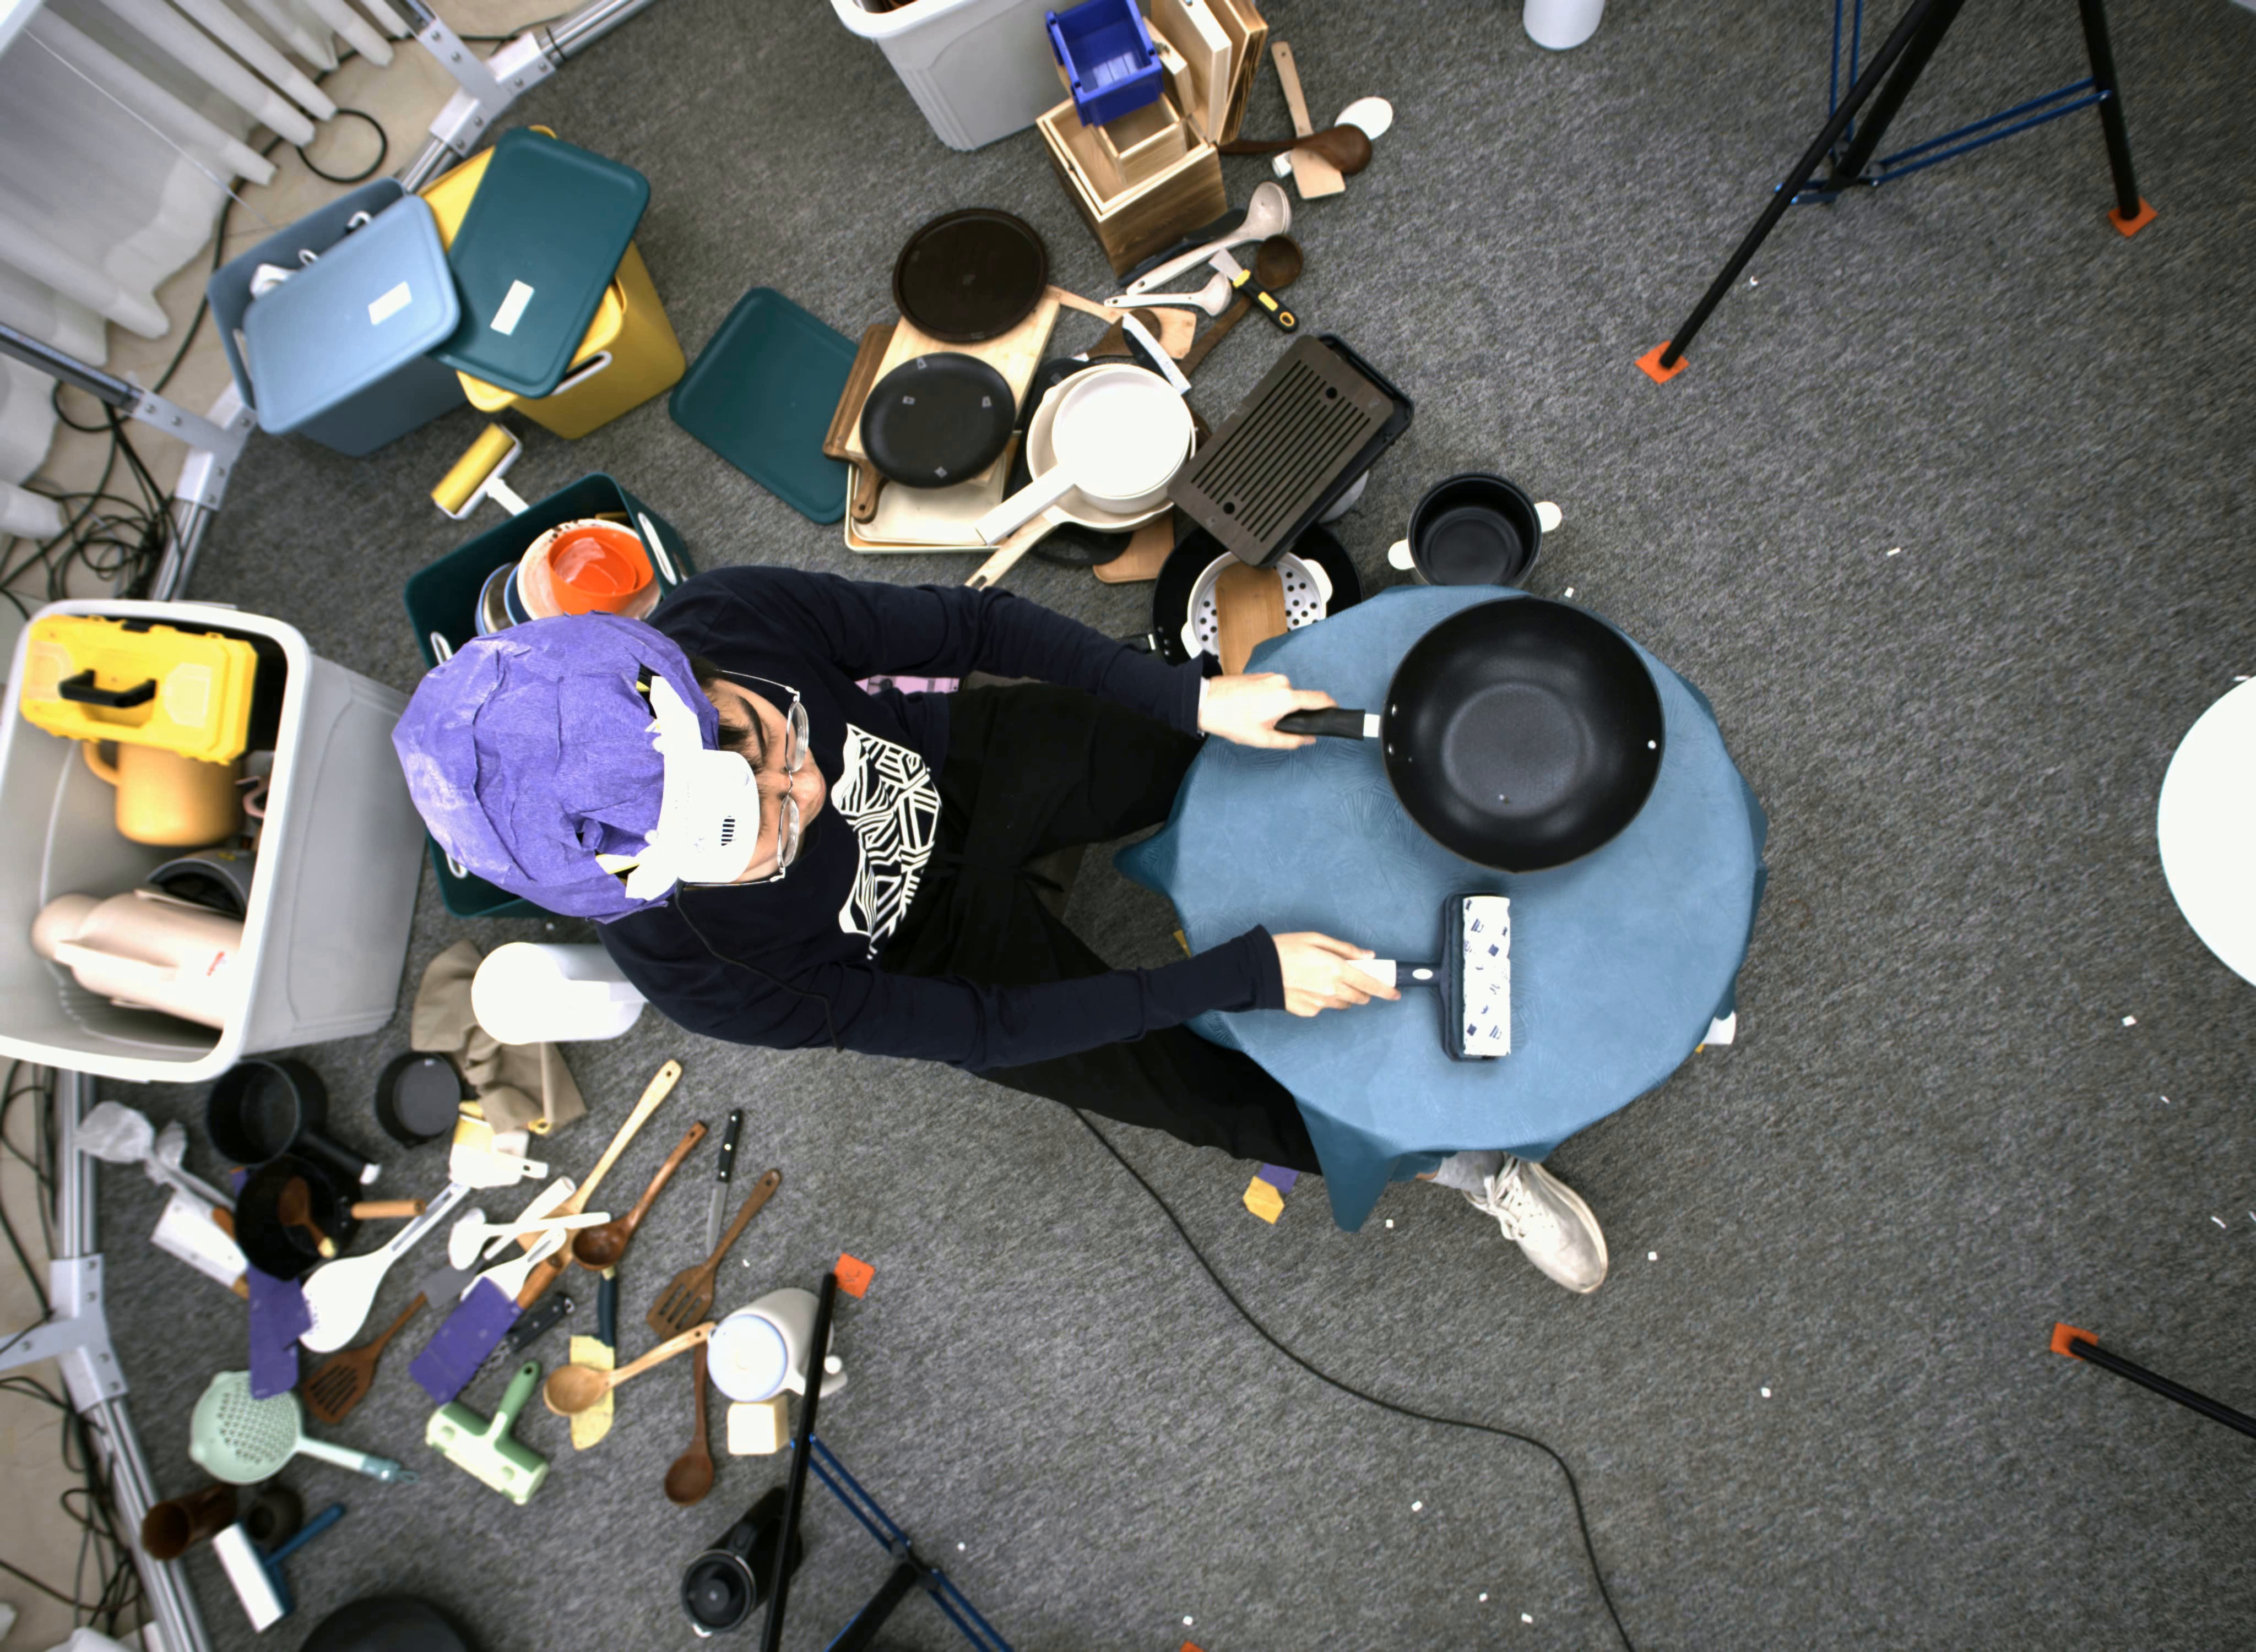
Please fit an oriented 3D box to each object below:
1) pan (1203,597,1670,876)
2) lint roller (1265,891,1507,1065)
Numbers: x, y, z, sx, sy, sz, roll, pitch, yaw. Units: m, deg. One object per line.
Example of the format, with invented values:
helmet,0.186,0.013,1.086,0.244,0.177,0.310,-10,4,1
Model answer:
pan,0.310,-0.095,1.416,0.465,0.087,0.286,5,84,13
lint roller,0.263,0.152,1.422,0.248,0.050,0.175,0,85,10
